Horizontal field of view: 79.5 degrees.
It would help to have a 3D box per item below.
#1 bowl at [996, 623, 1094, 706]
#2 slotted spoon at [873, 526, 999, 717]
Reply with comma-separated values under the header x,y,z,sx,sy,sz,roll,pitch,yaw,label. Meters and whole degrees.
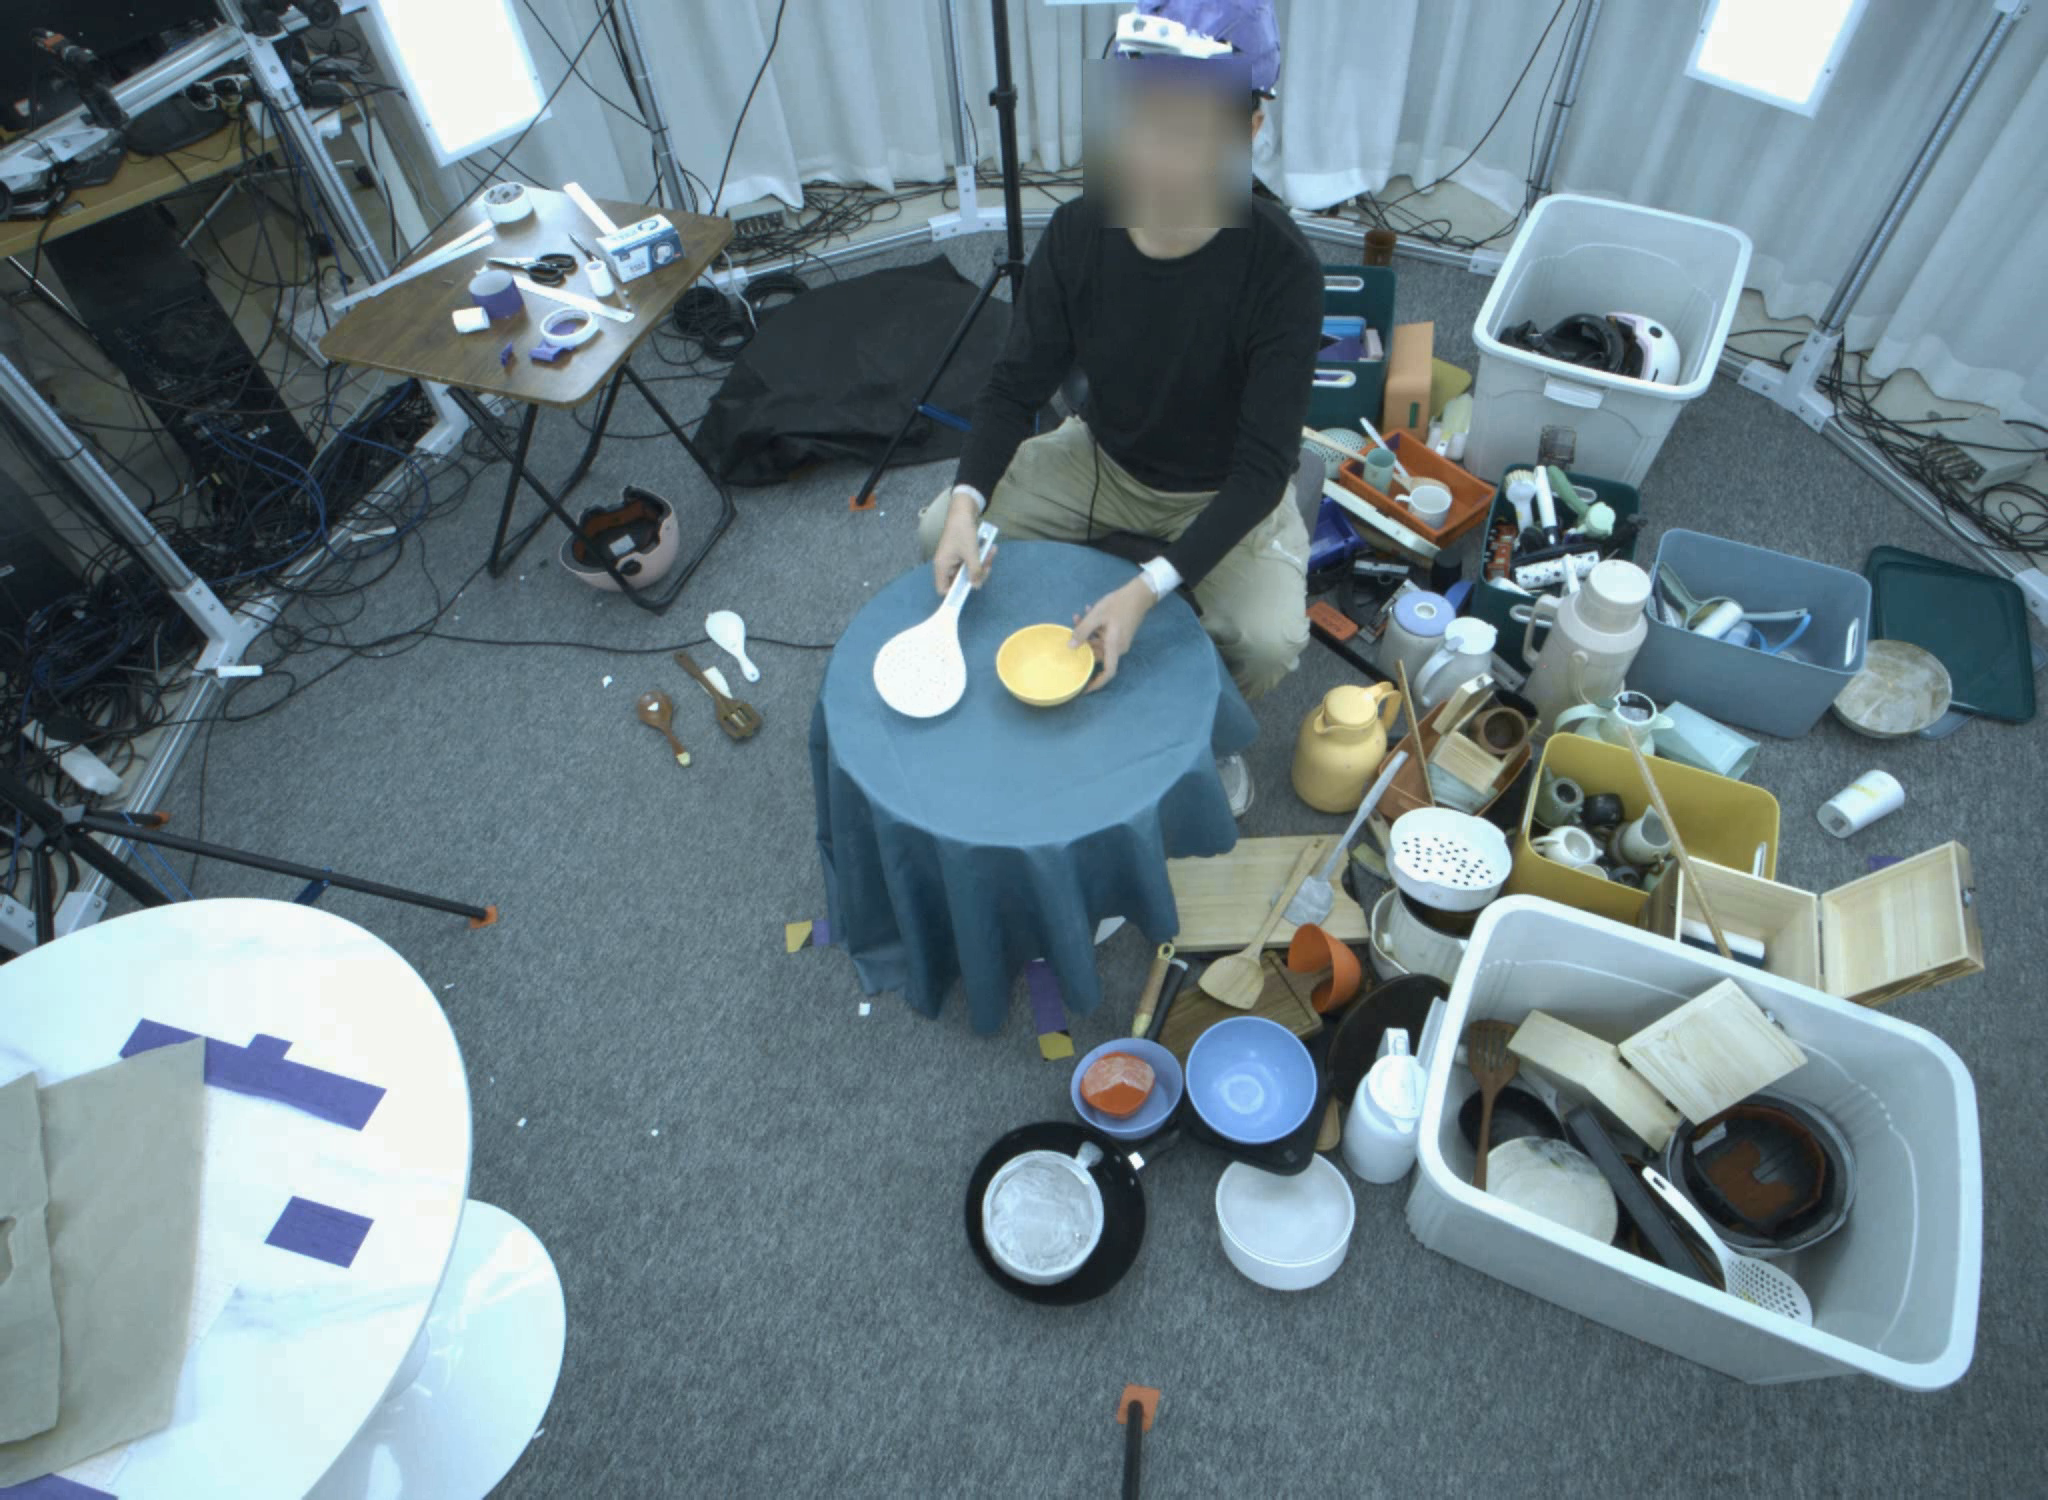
x,y,z,sx,sy,sz,roll,pitch,yaw,label
0.032,-0.116,1.834,0.145,0.061,0.144,0,56,1,bowl
-0.118,-0.201,1.866,0.136,0.045,0.349,25,72,-4,slotted spoon
